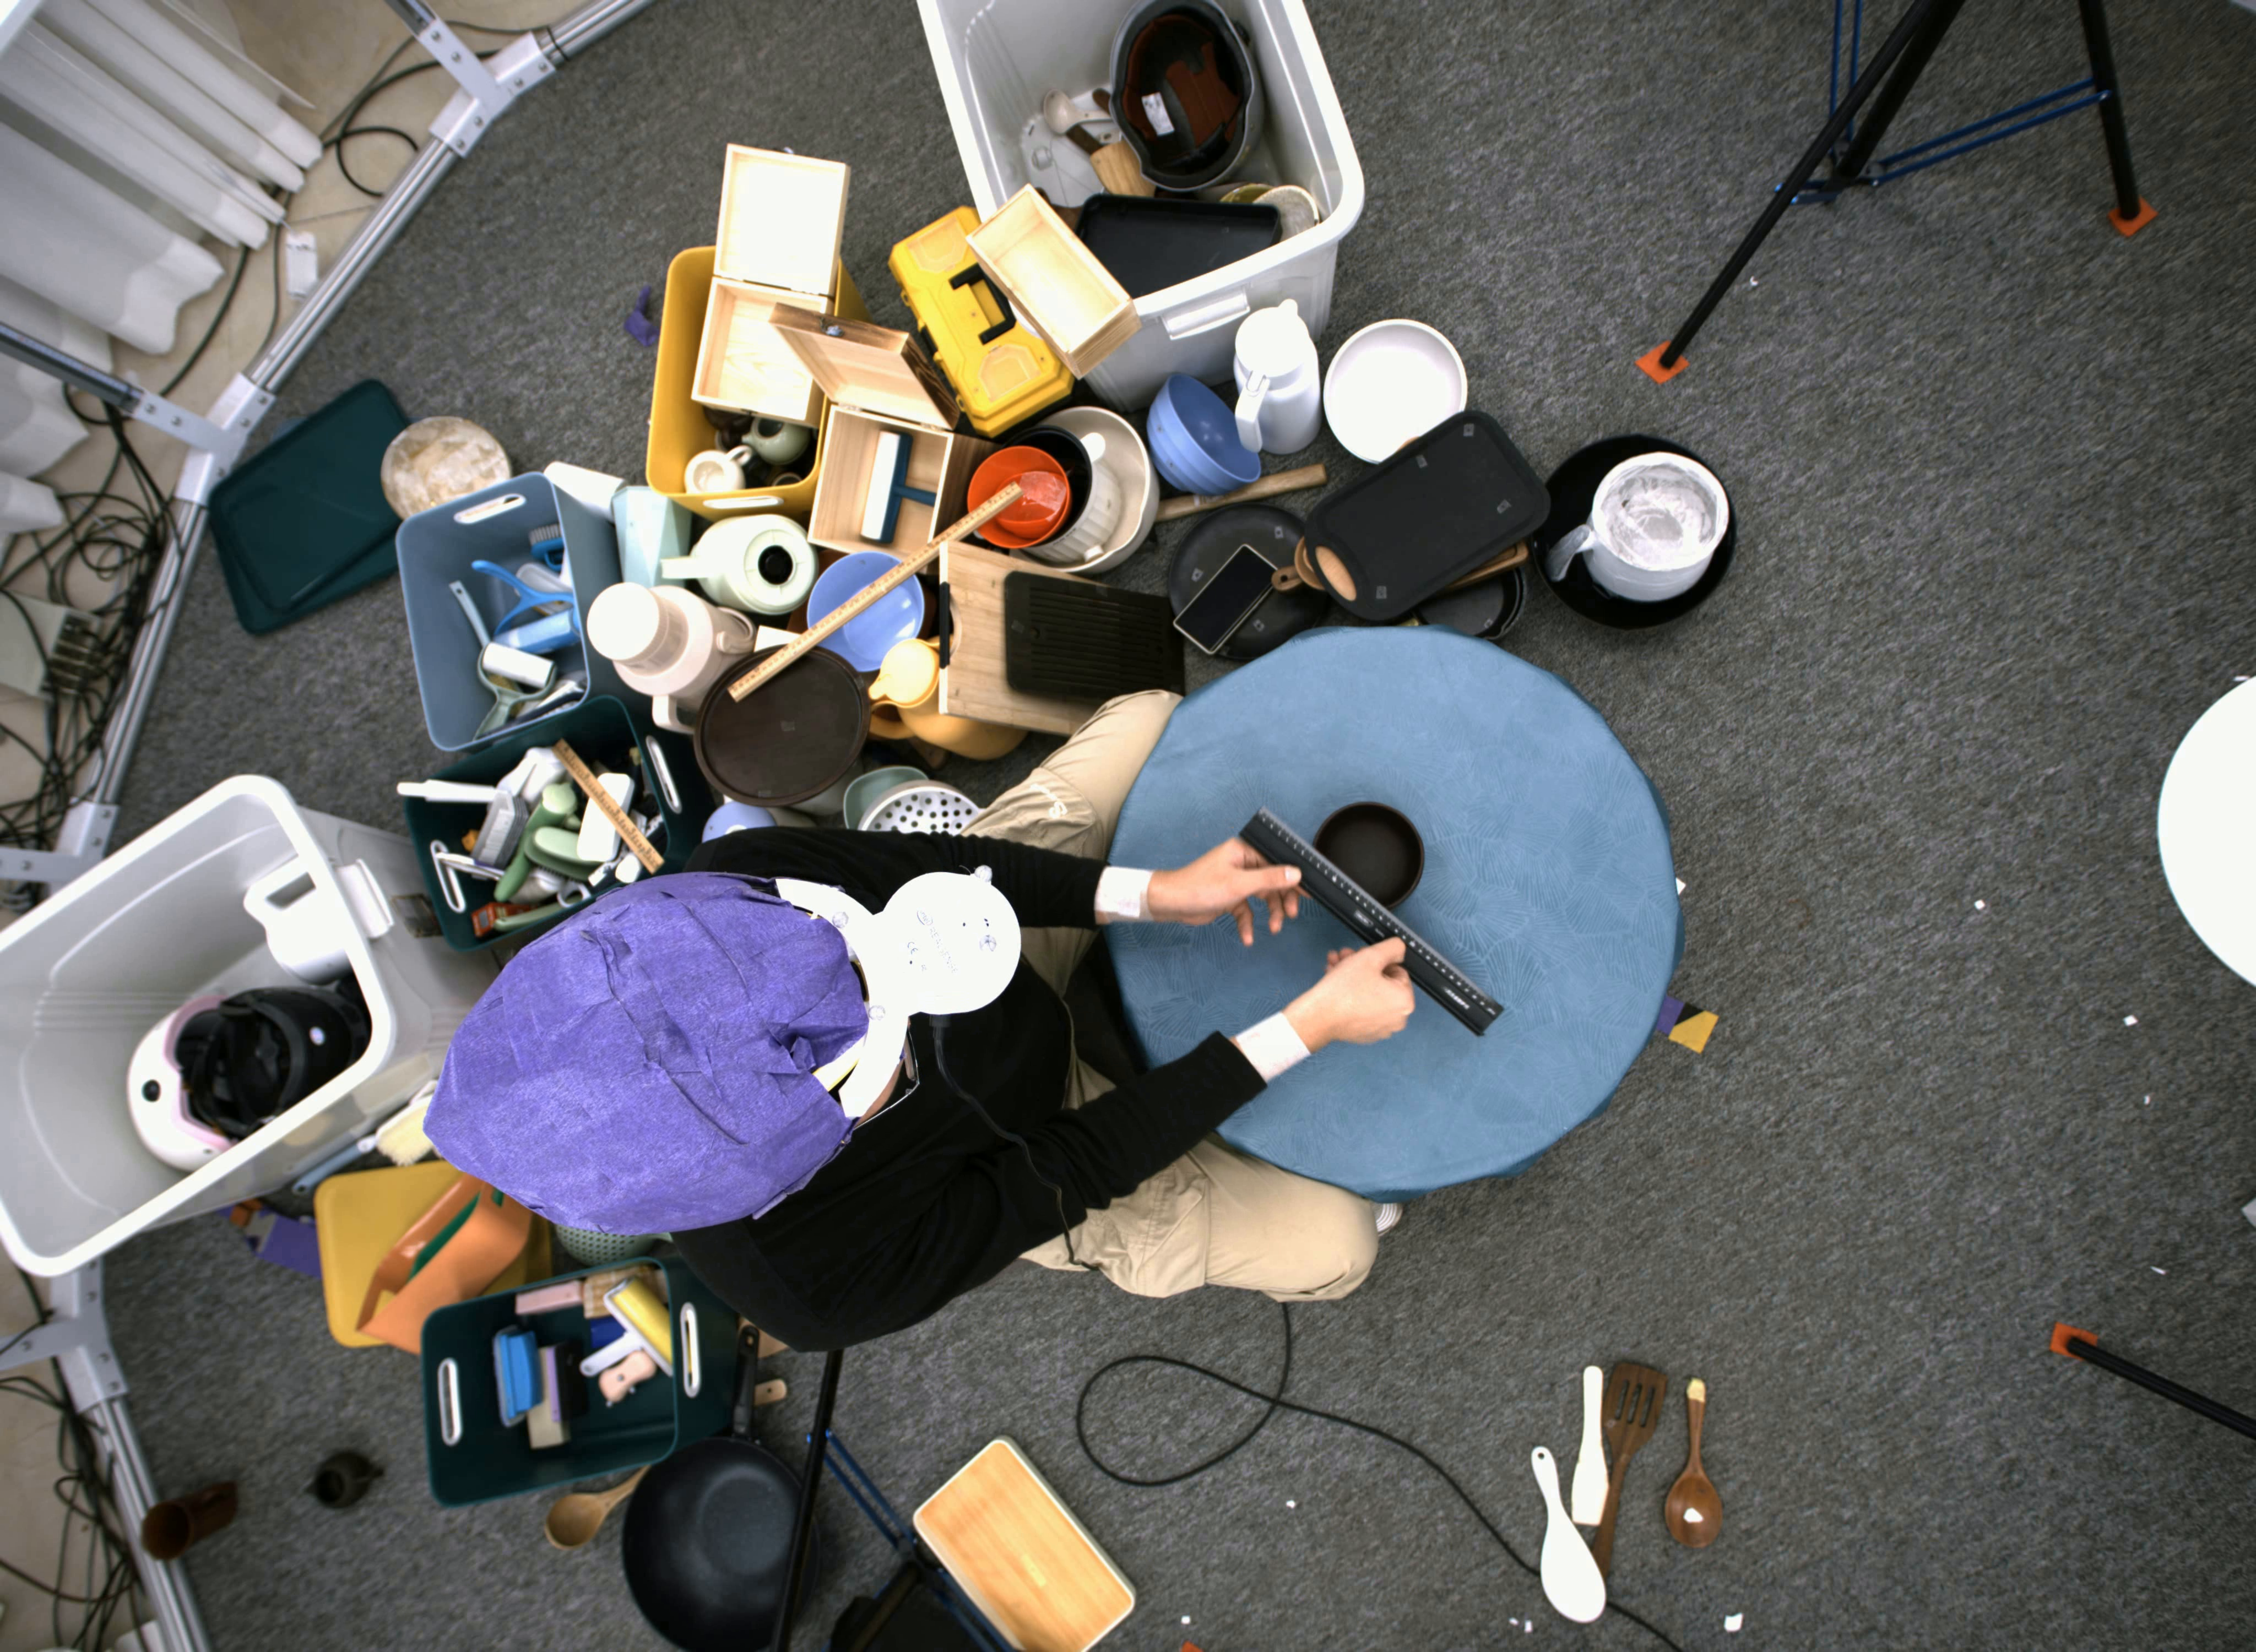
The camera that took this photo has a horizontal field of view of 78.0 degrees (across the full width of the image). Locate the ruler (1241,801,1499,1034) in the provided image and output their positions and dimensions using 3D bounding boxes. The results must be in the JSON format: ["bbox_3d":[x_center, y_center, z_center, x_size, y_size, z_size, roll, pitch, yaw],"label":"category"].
[{"bbox_3d":[0.239,0.090,1.358,0.312,0.017,0.039,41,102,1],"label":"ruler"}]

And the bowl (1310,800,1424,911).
[{"bbox_3d":[0.246,0.034,1.429,0.118,0.070,0.117,-1,85,10],"label":"bowl"}]
